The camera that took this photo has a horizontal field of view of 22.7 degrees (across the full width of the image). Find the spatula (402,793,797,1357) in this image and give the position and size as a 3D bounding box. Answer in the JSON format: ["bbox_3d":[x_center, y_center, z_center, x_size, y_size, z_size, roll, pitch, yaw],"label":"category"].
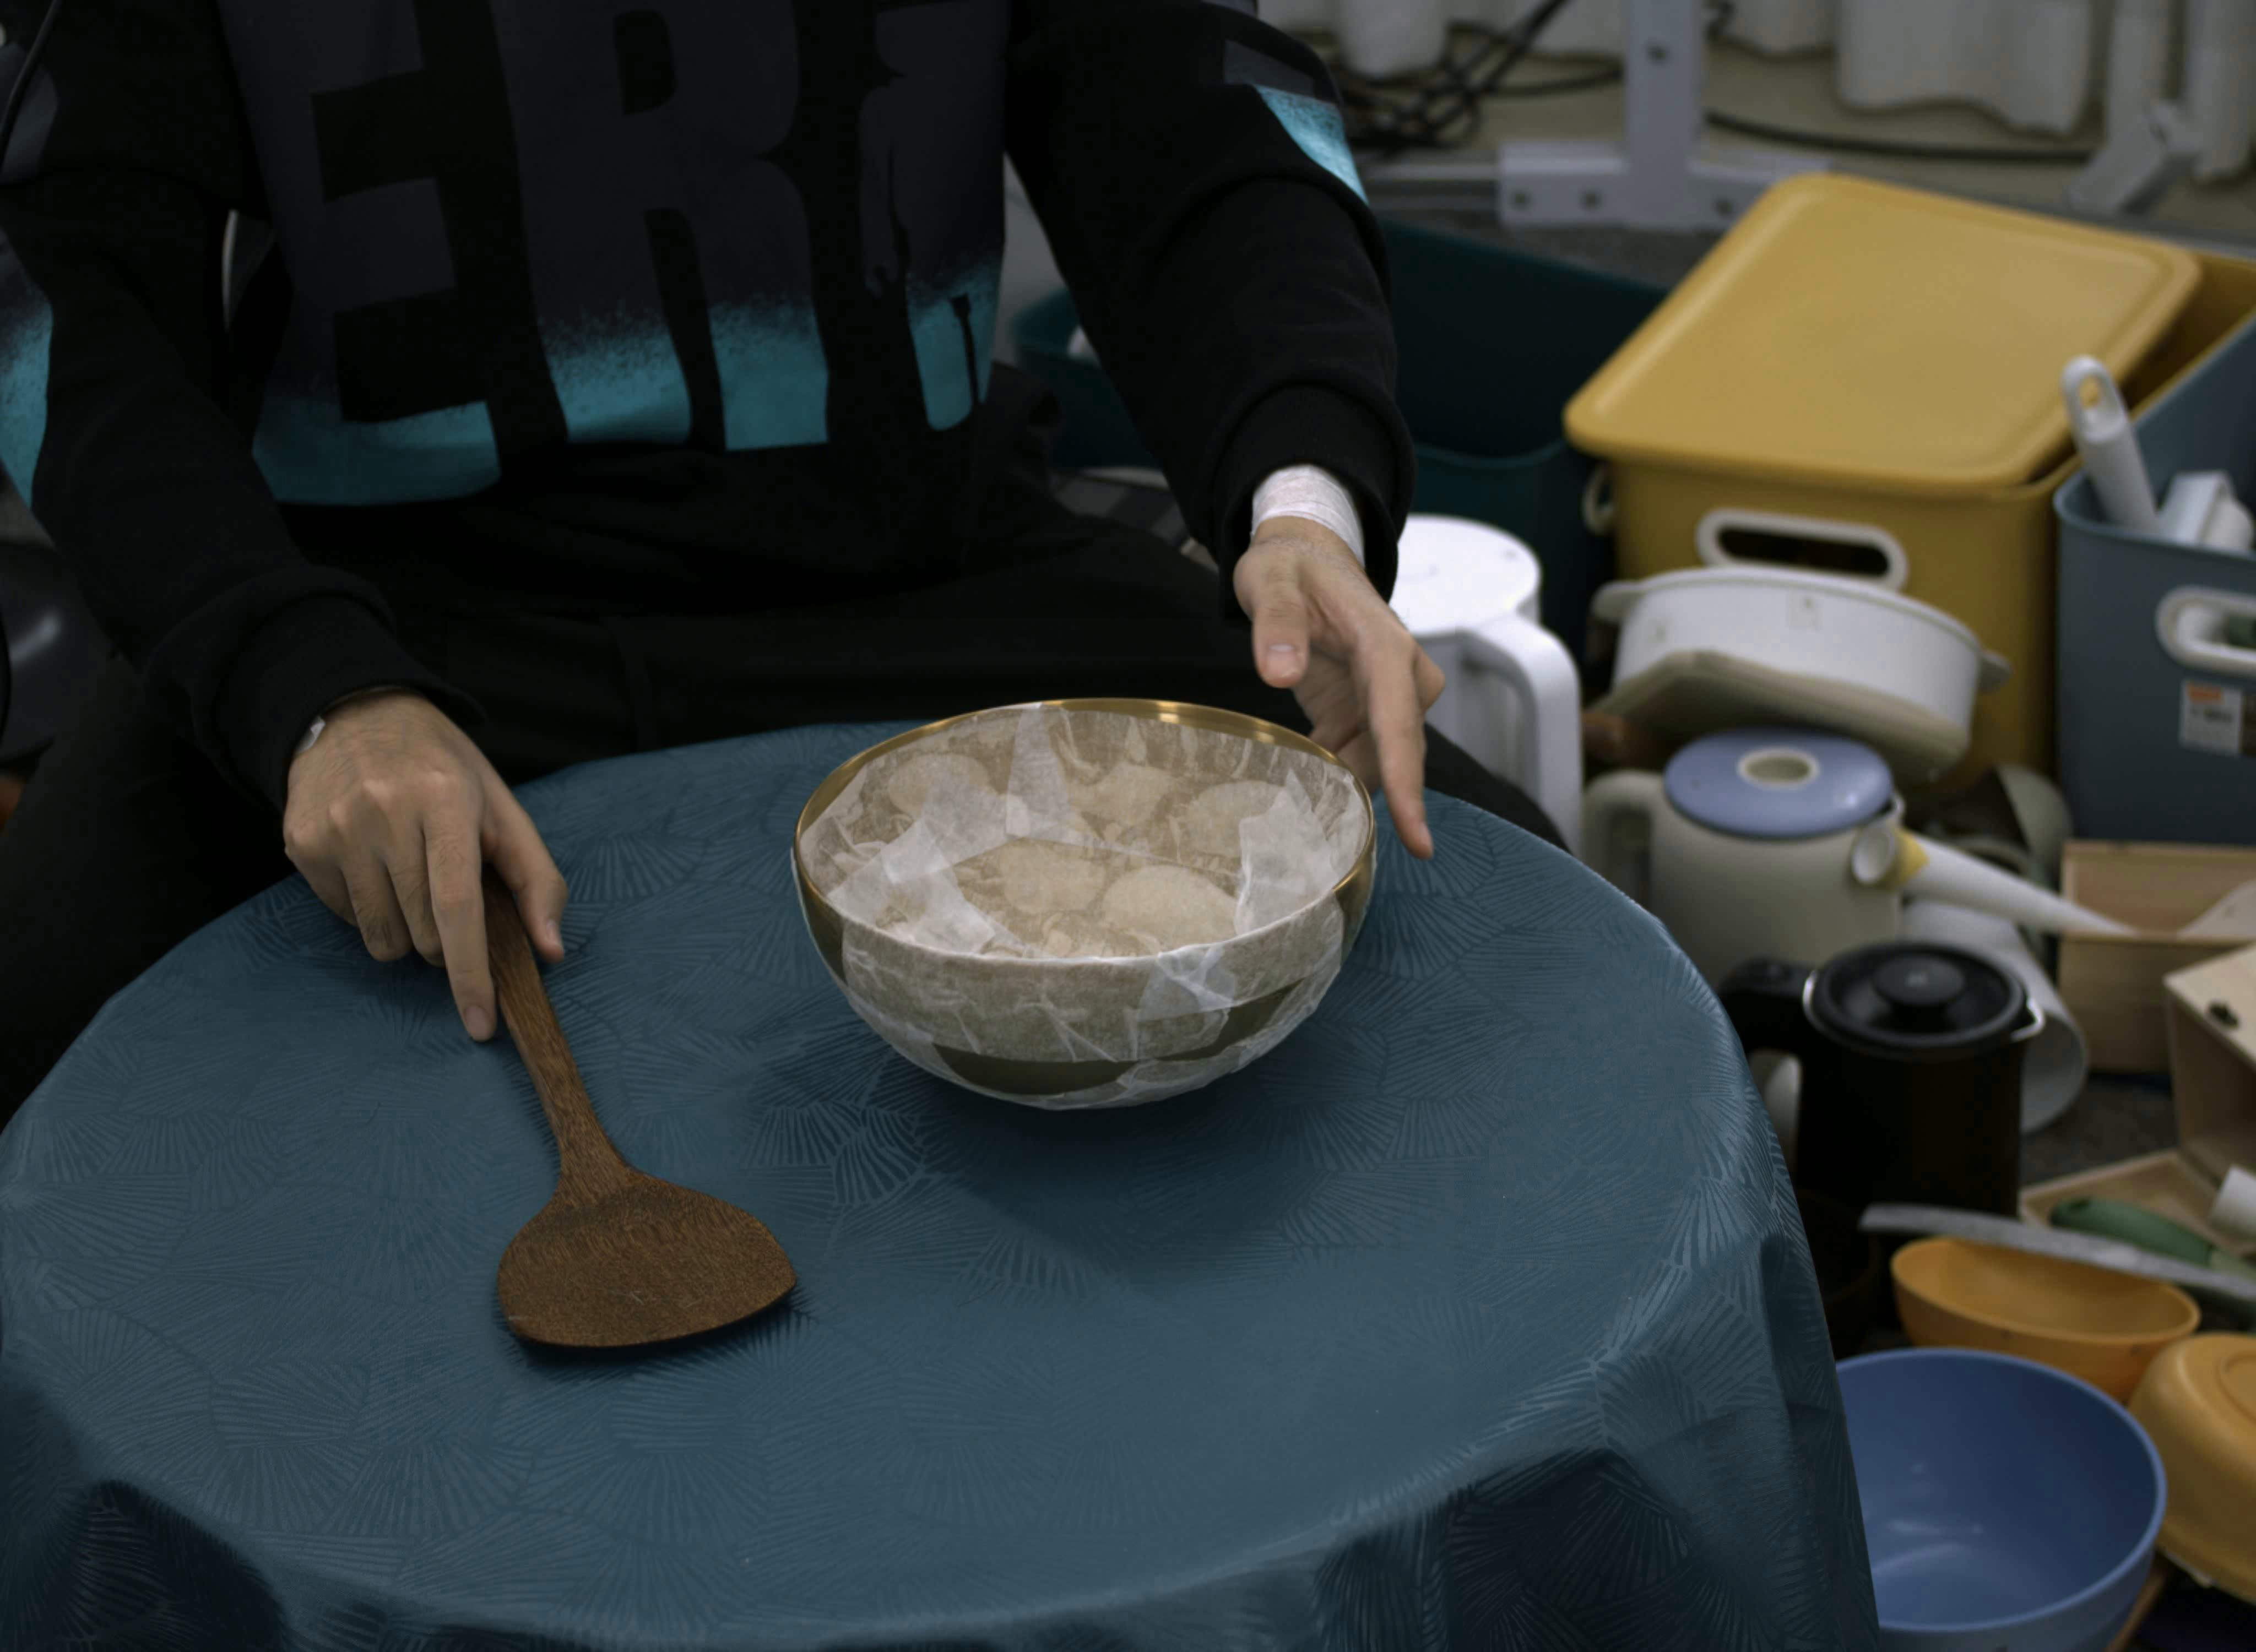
[{"bbox_3d":[-0.203,0.077,1.942,0.096,0.015,0.390,-10,31,-15],"label":"spatula"}]

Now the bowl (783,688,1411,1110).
[{"bbox_3d":[-0.010,0.037,1.924,0.213,0.093,0.218,-2,25,1],"label":"bowl"}]
